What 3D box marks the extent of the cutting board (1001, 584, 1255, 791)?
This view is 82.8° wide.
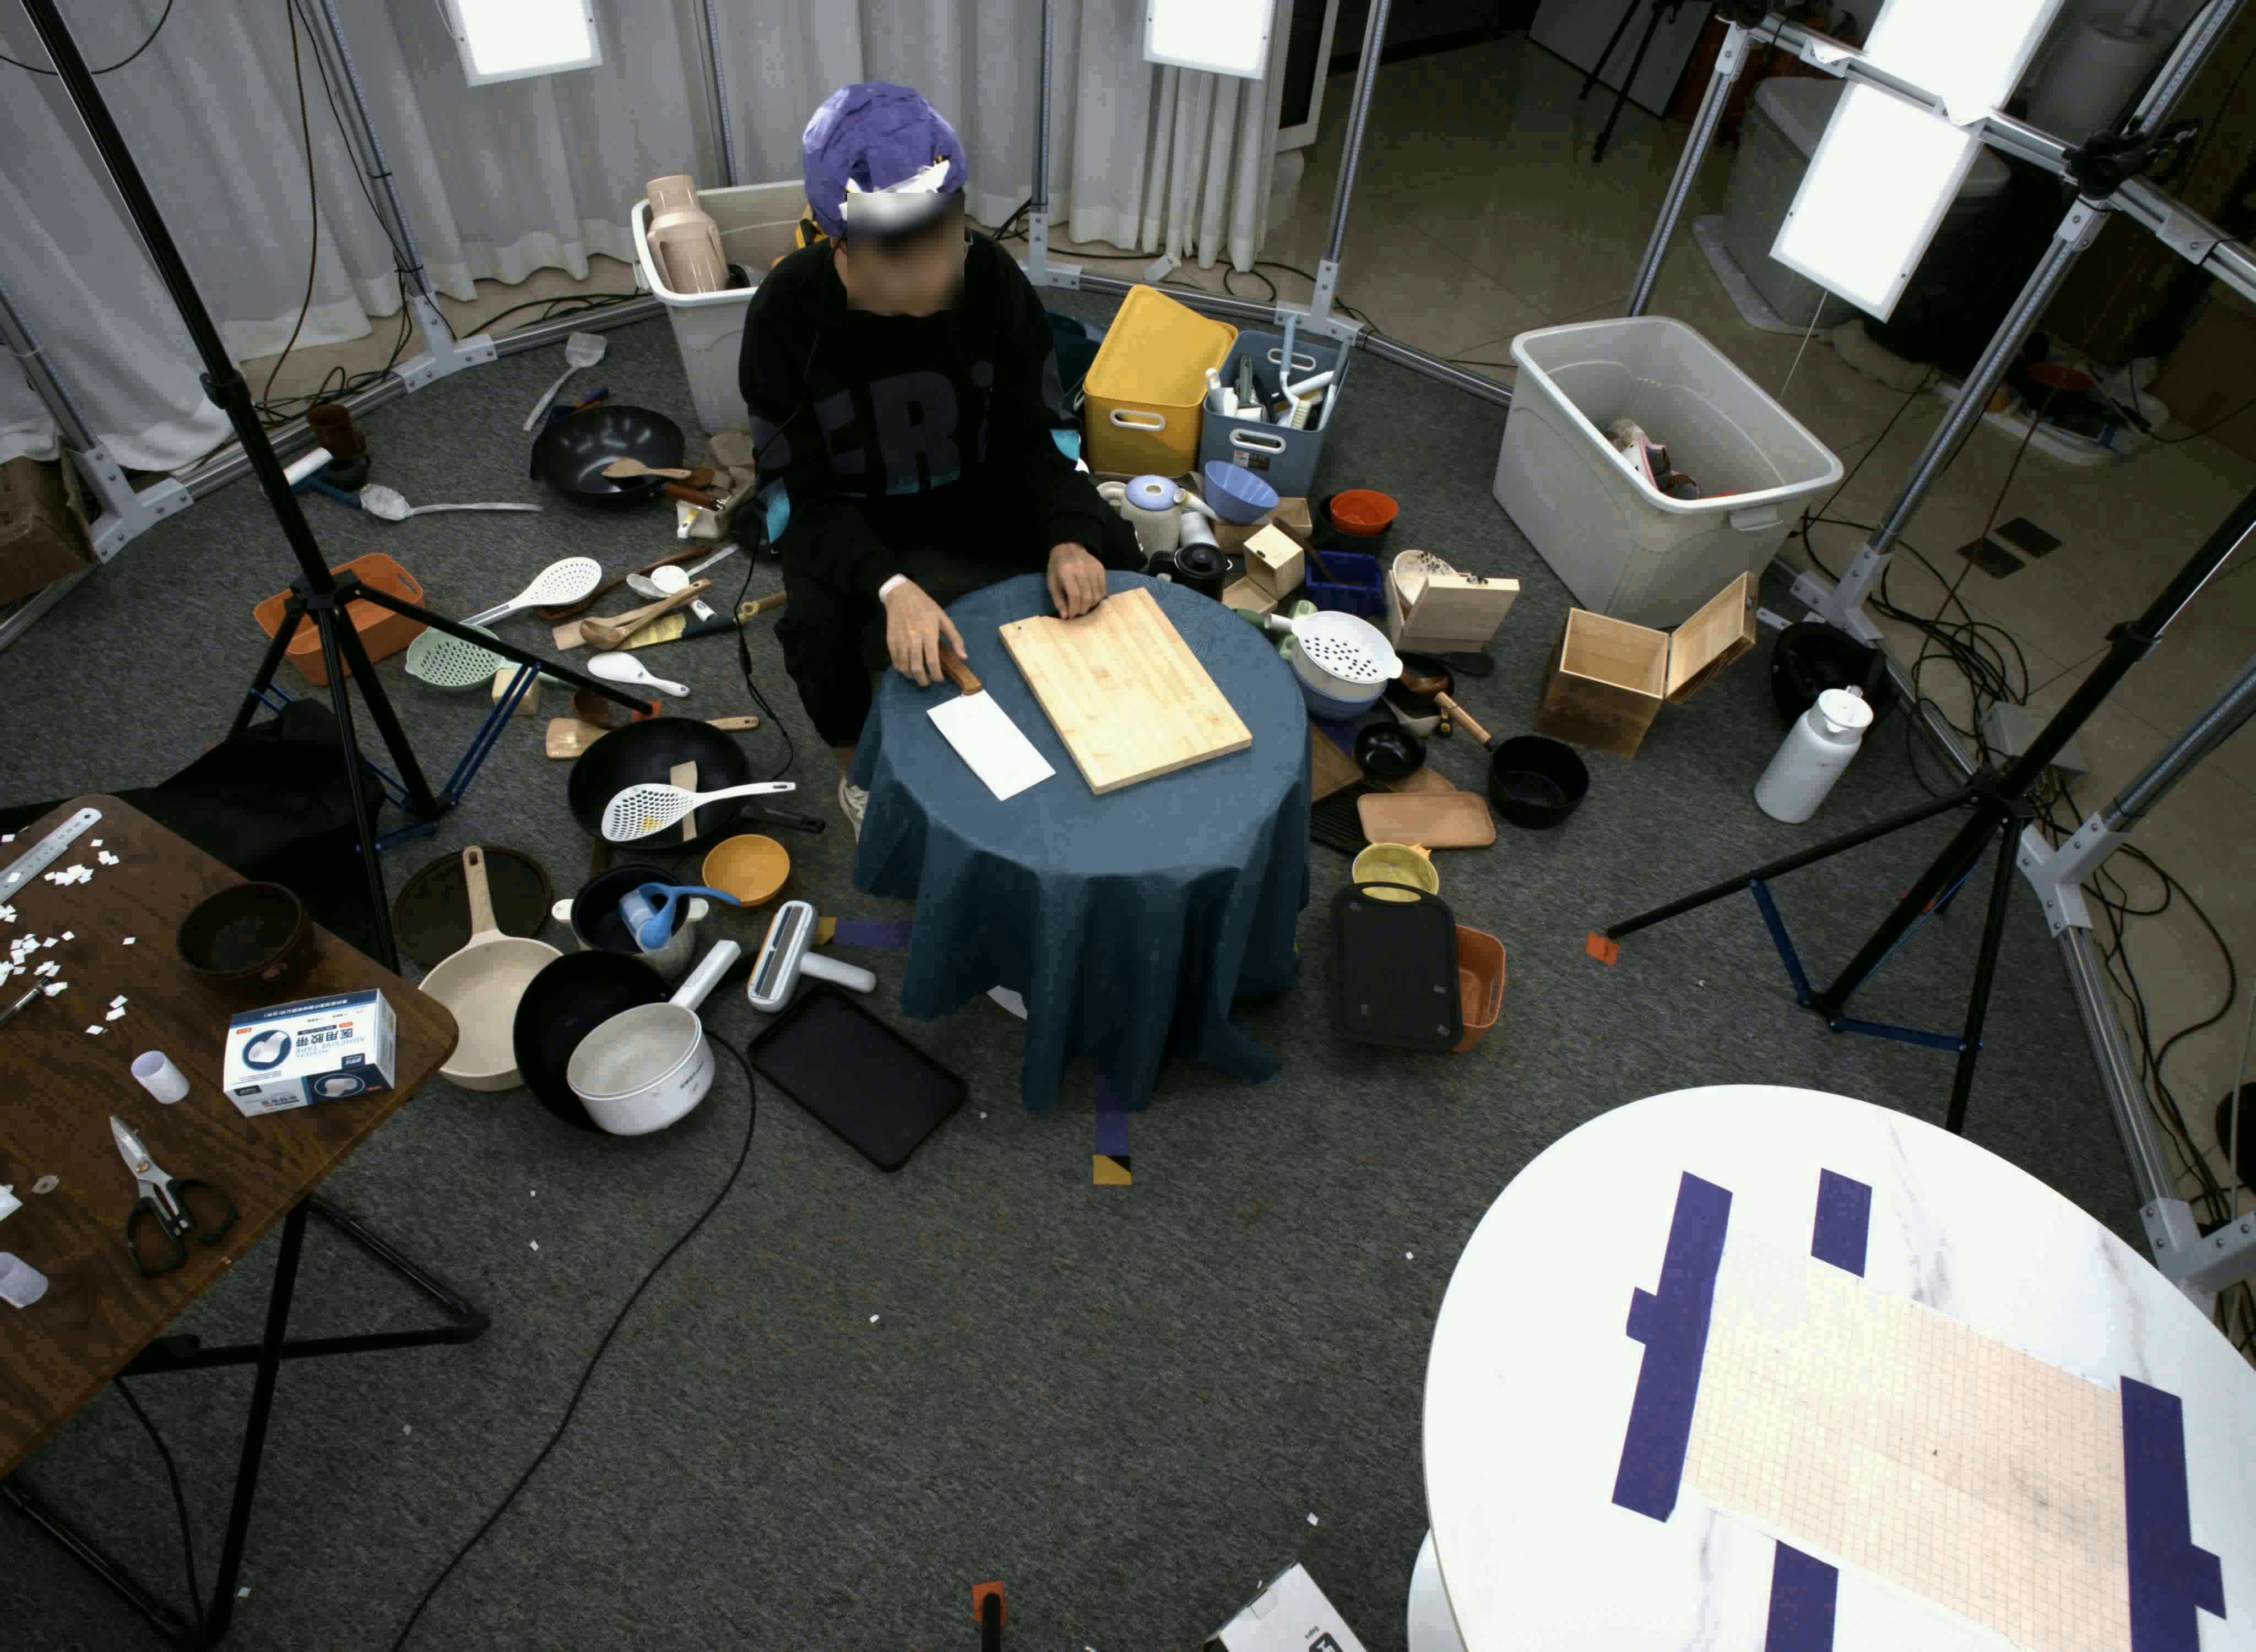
[{"bbox_3d":[-0.006,-0.206,1.836,0.251,0.023,0.356,-19,53,-19],"label":"cutting board"}]

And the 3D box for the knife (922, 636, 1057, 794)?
[{"bbox_3d":[-0.216,-0.154,1.778,0.093,0.020,0.311,-27,58,-23],"label":"knife"}]
